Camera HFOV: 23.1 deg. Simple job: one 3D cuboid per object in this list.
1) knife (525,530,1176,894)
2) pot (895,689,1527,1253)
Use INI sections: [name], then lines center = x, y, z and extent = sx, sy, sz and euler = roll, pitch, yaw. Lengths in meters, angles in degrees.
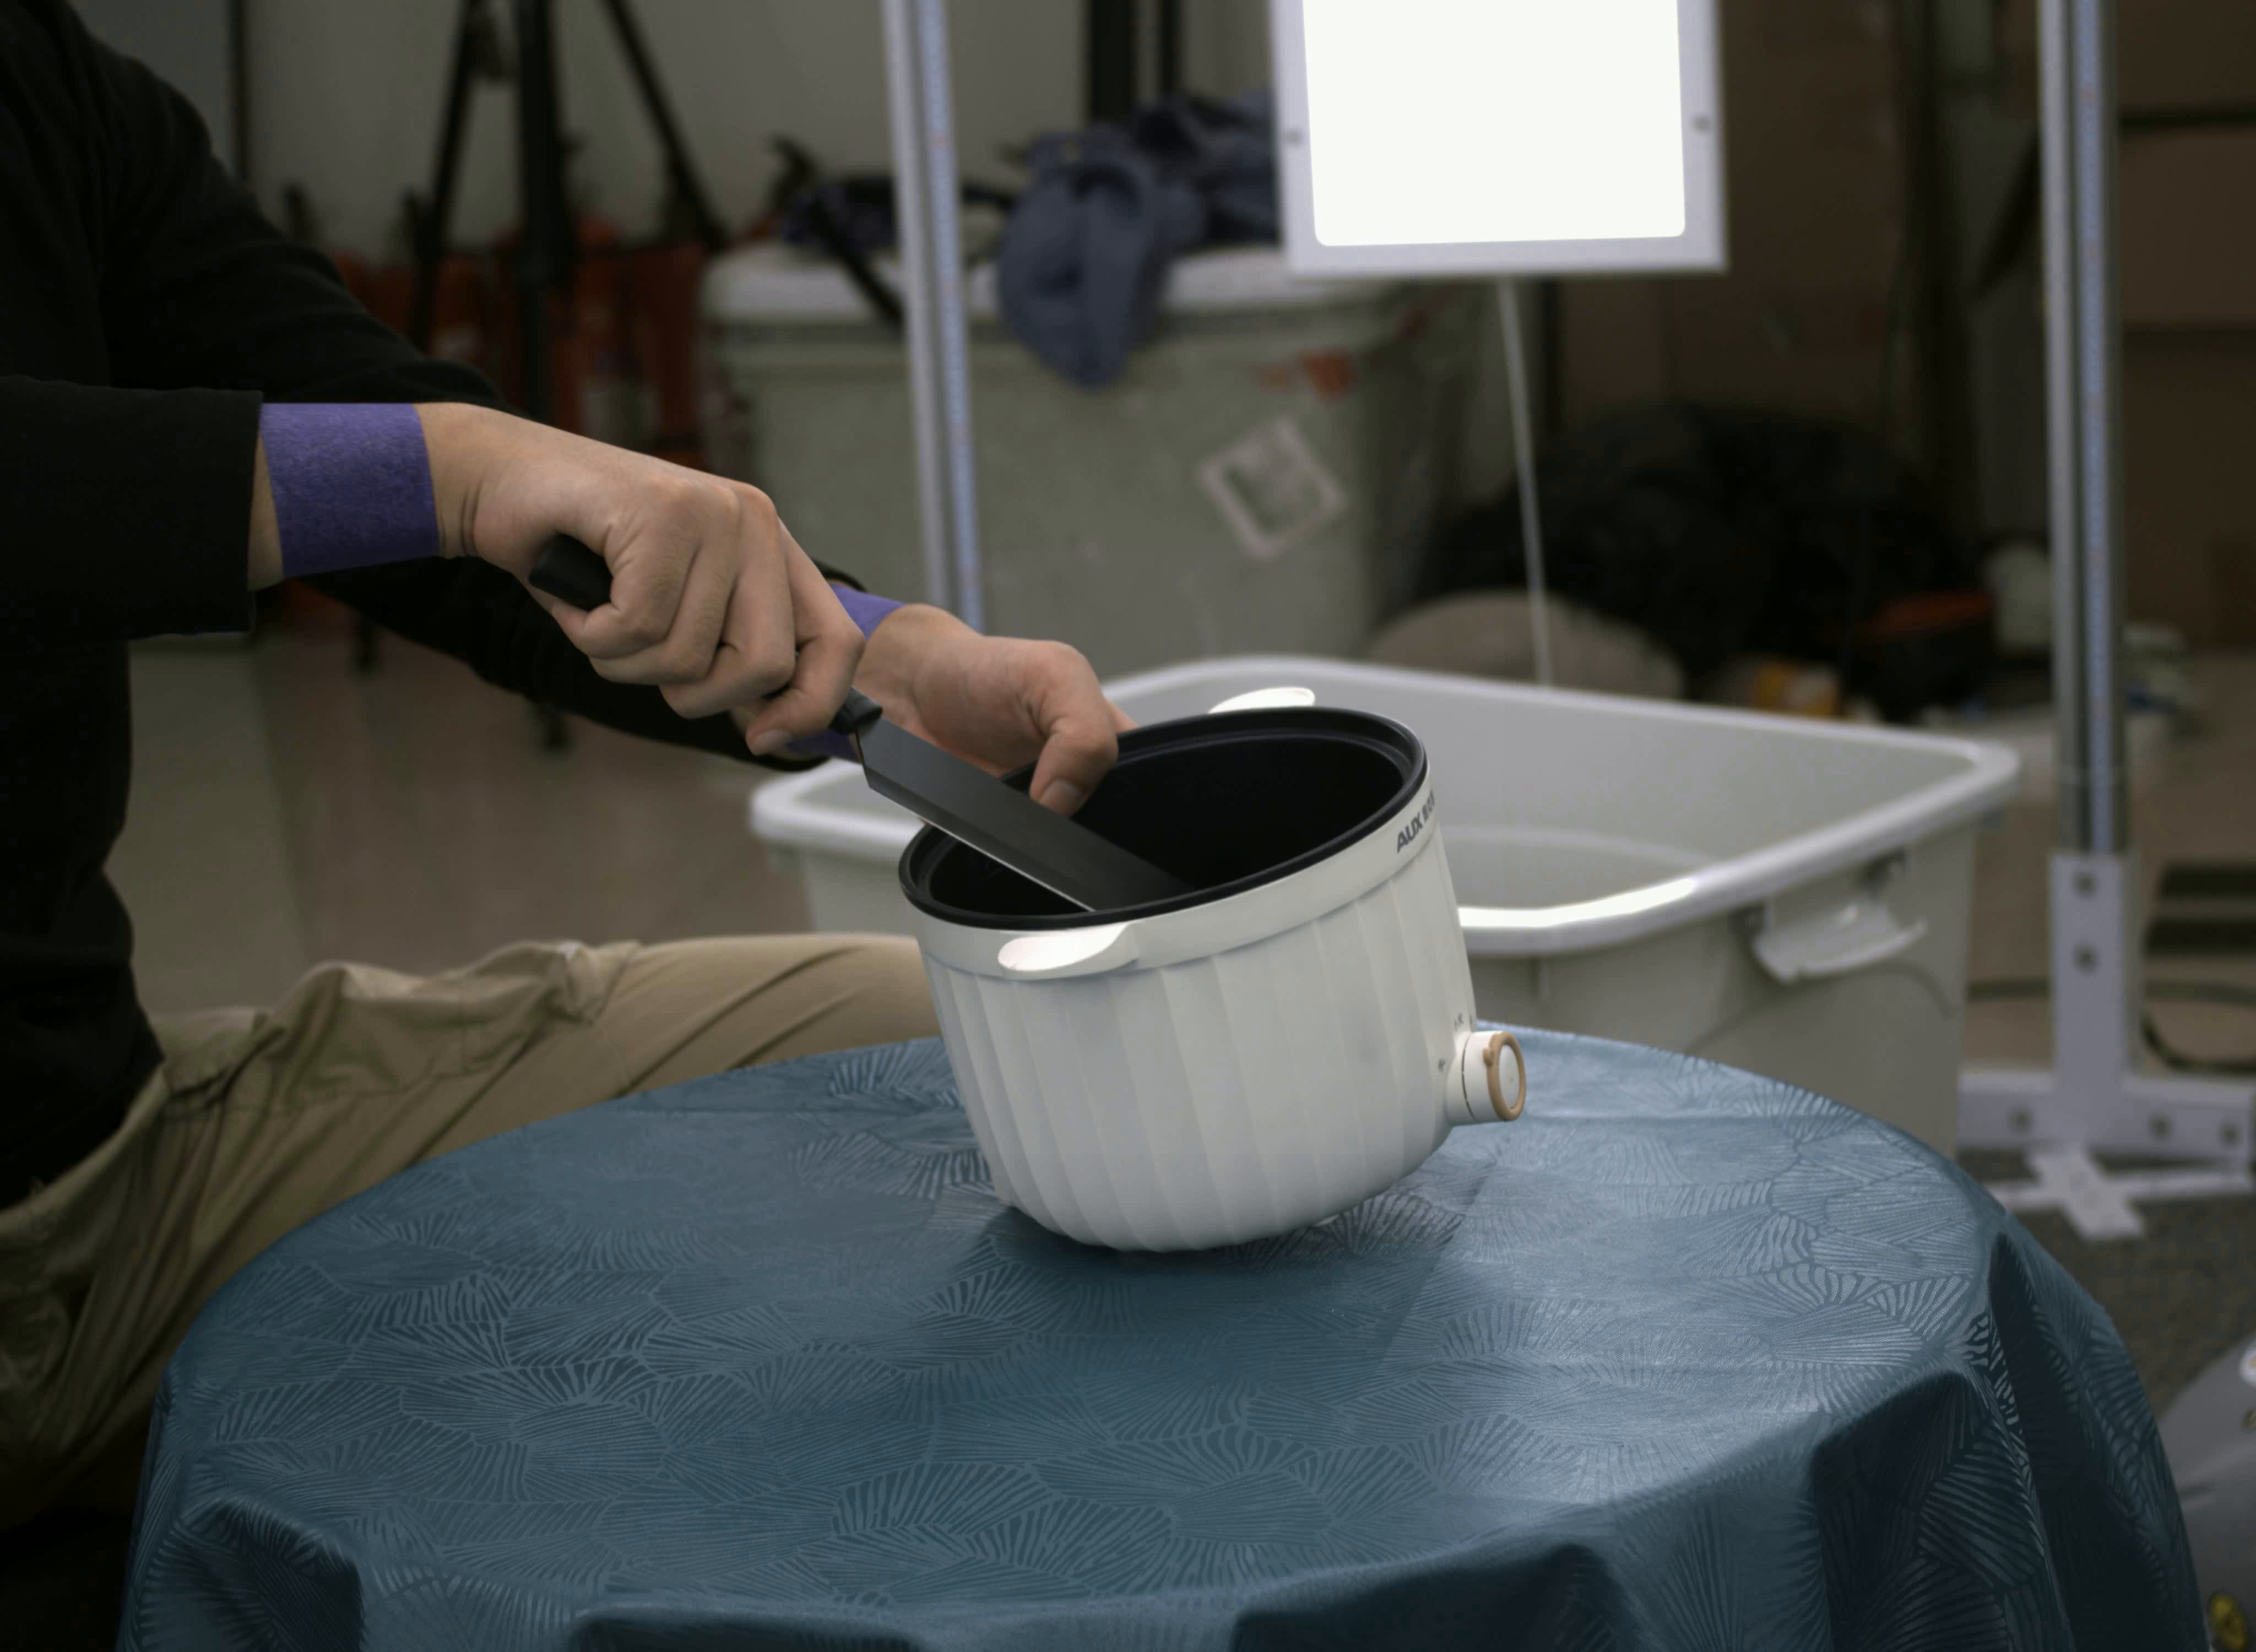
[knife]
center = -0.064, -0.016, 1.794
extent = 0.299, 0.021, 0.081
euler = 30, 18, -15
[pot]
center = 0.031, 0.054, 1.849
extent = 0.194, 0.142, 0.236
euler = -9, 20, 25
